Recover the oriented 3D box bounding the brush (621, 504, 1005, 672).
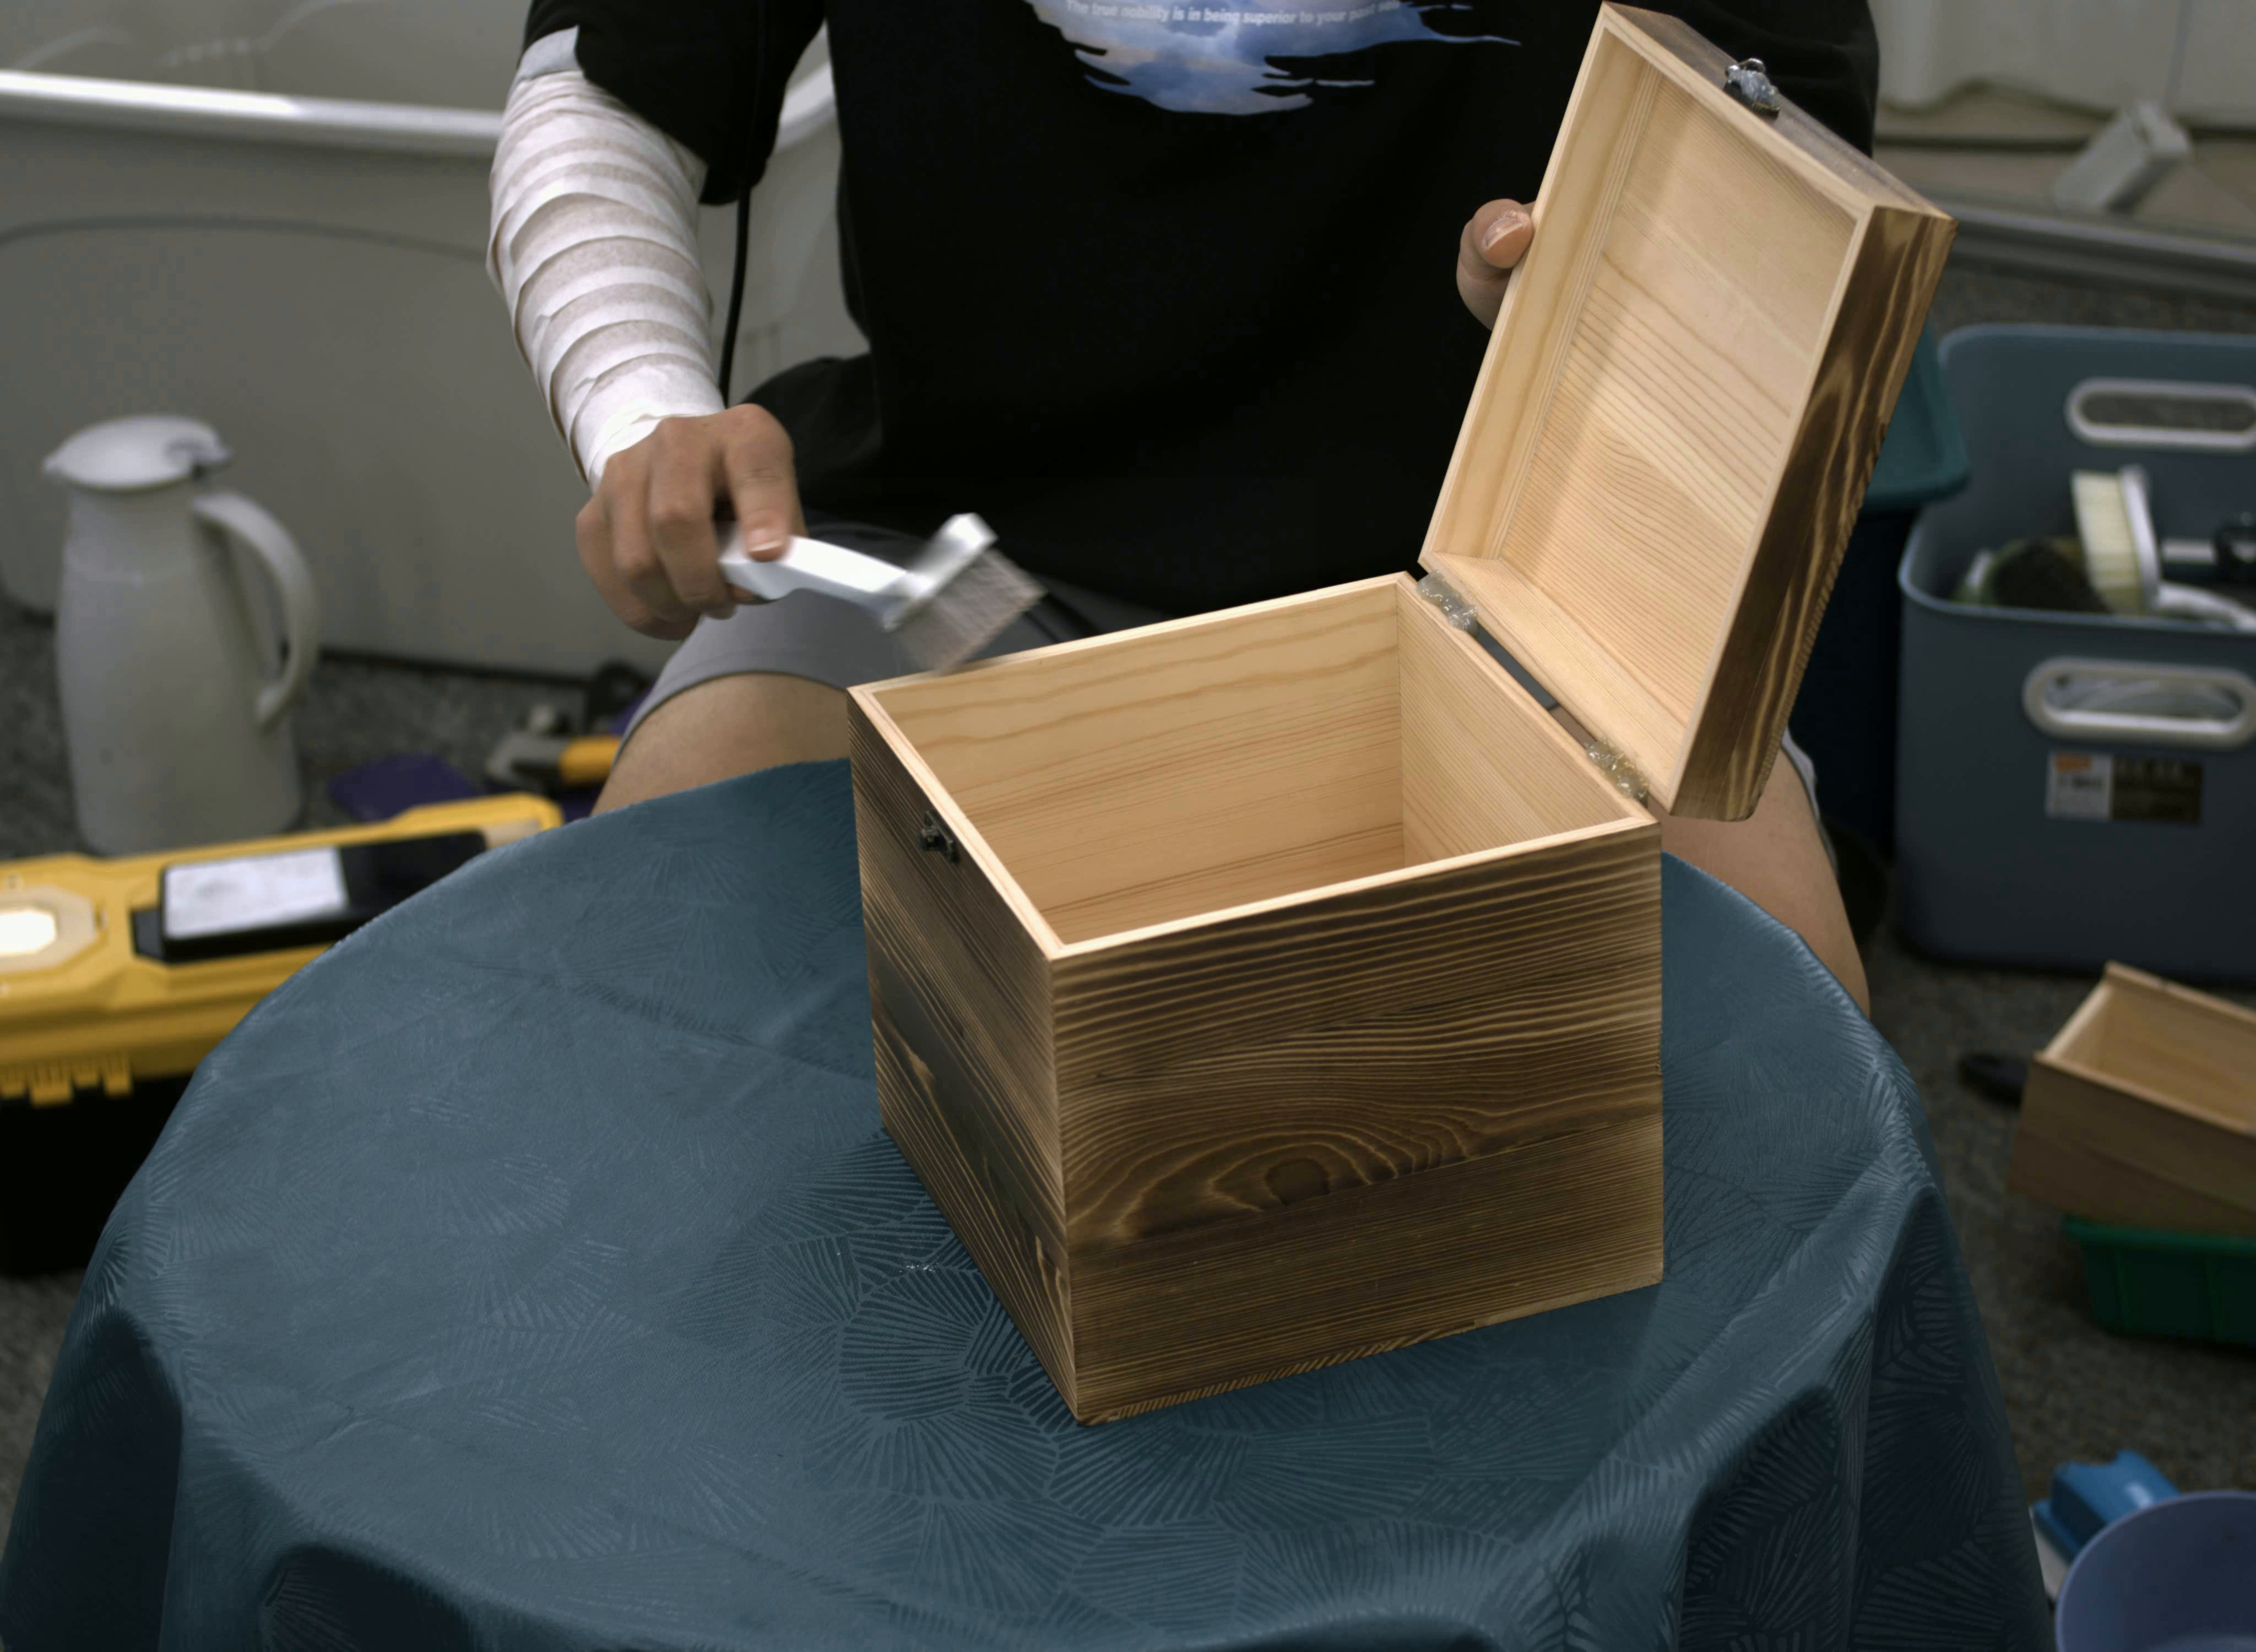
[{"bbox_3d":[-0.108,-0.078,1.905,0.035,0.050,0.242,-43,19,-20],"label":"brush"}]

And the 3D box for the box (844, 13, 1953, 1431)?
[{"bbox_3d":[0.084,-0.044,1.795,0.323,0.372,0.210,-10,25,-18],"label":"box"}]
